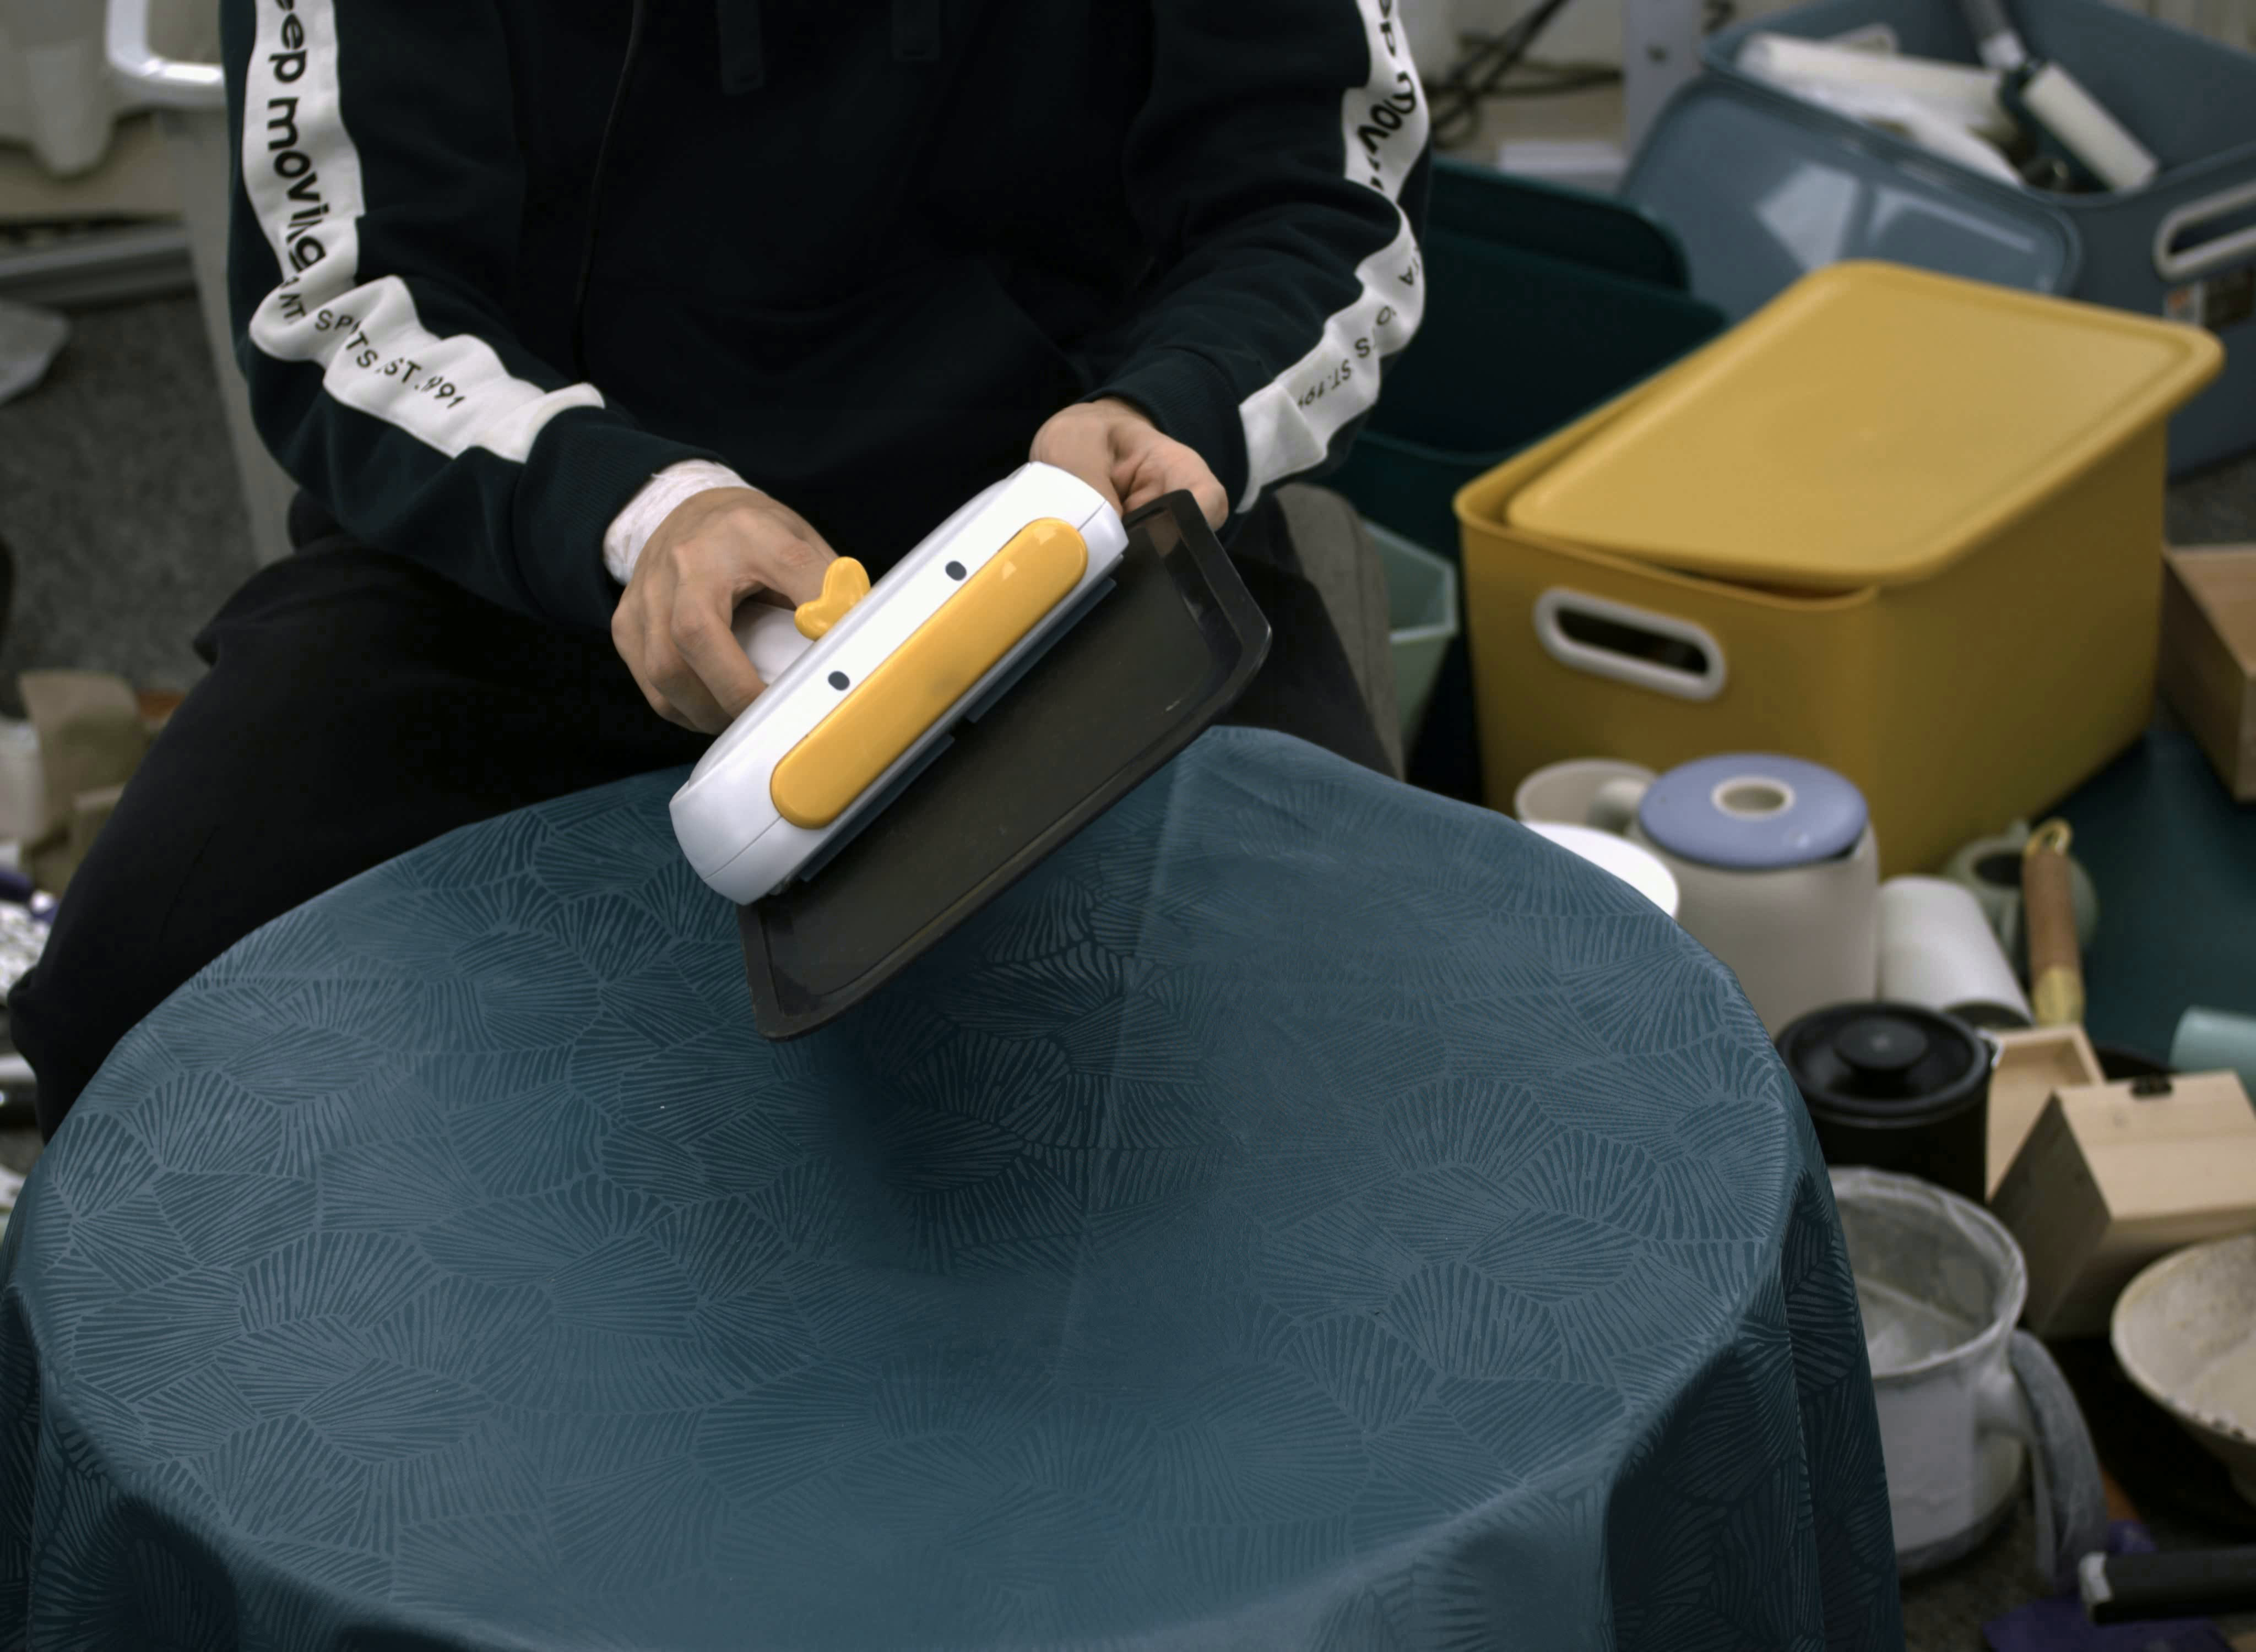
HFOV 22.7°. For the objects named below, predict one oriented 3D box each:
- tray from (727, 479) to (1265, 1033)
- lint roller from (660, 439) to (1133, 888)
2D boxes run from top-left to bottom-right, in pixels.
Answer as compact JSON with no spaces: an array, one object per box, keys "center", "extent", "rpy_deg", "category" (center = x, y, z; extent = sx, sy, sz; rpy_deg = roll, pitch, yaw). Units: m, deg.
[{"center":[-0.052,-0.031,1.904],"extent":[0.210,0.010,0.327],"rpy_deg":[-38,16,4],"category":"tray"},{"center":[-0.104,-0.056,1.973],"extent":[0.195,0.074,0.190],"rpy_deg":[-50,16,-23],"category":"lint roller"}]
